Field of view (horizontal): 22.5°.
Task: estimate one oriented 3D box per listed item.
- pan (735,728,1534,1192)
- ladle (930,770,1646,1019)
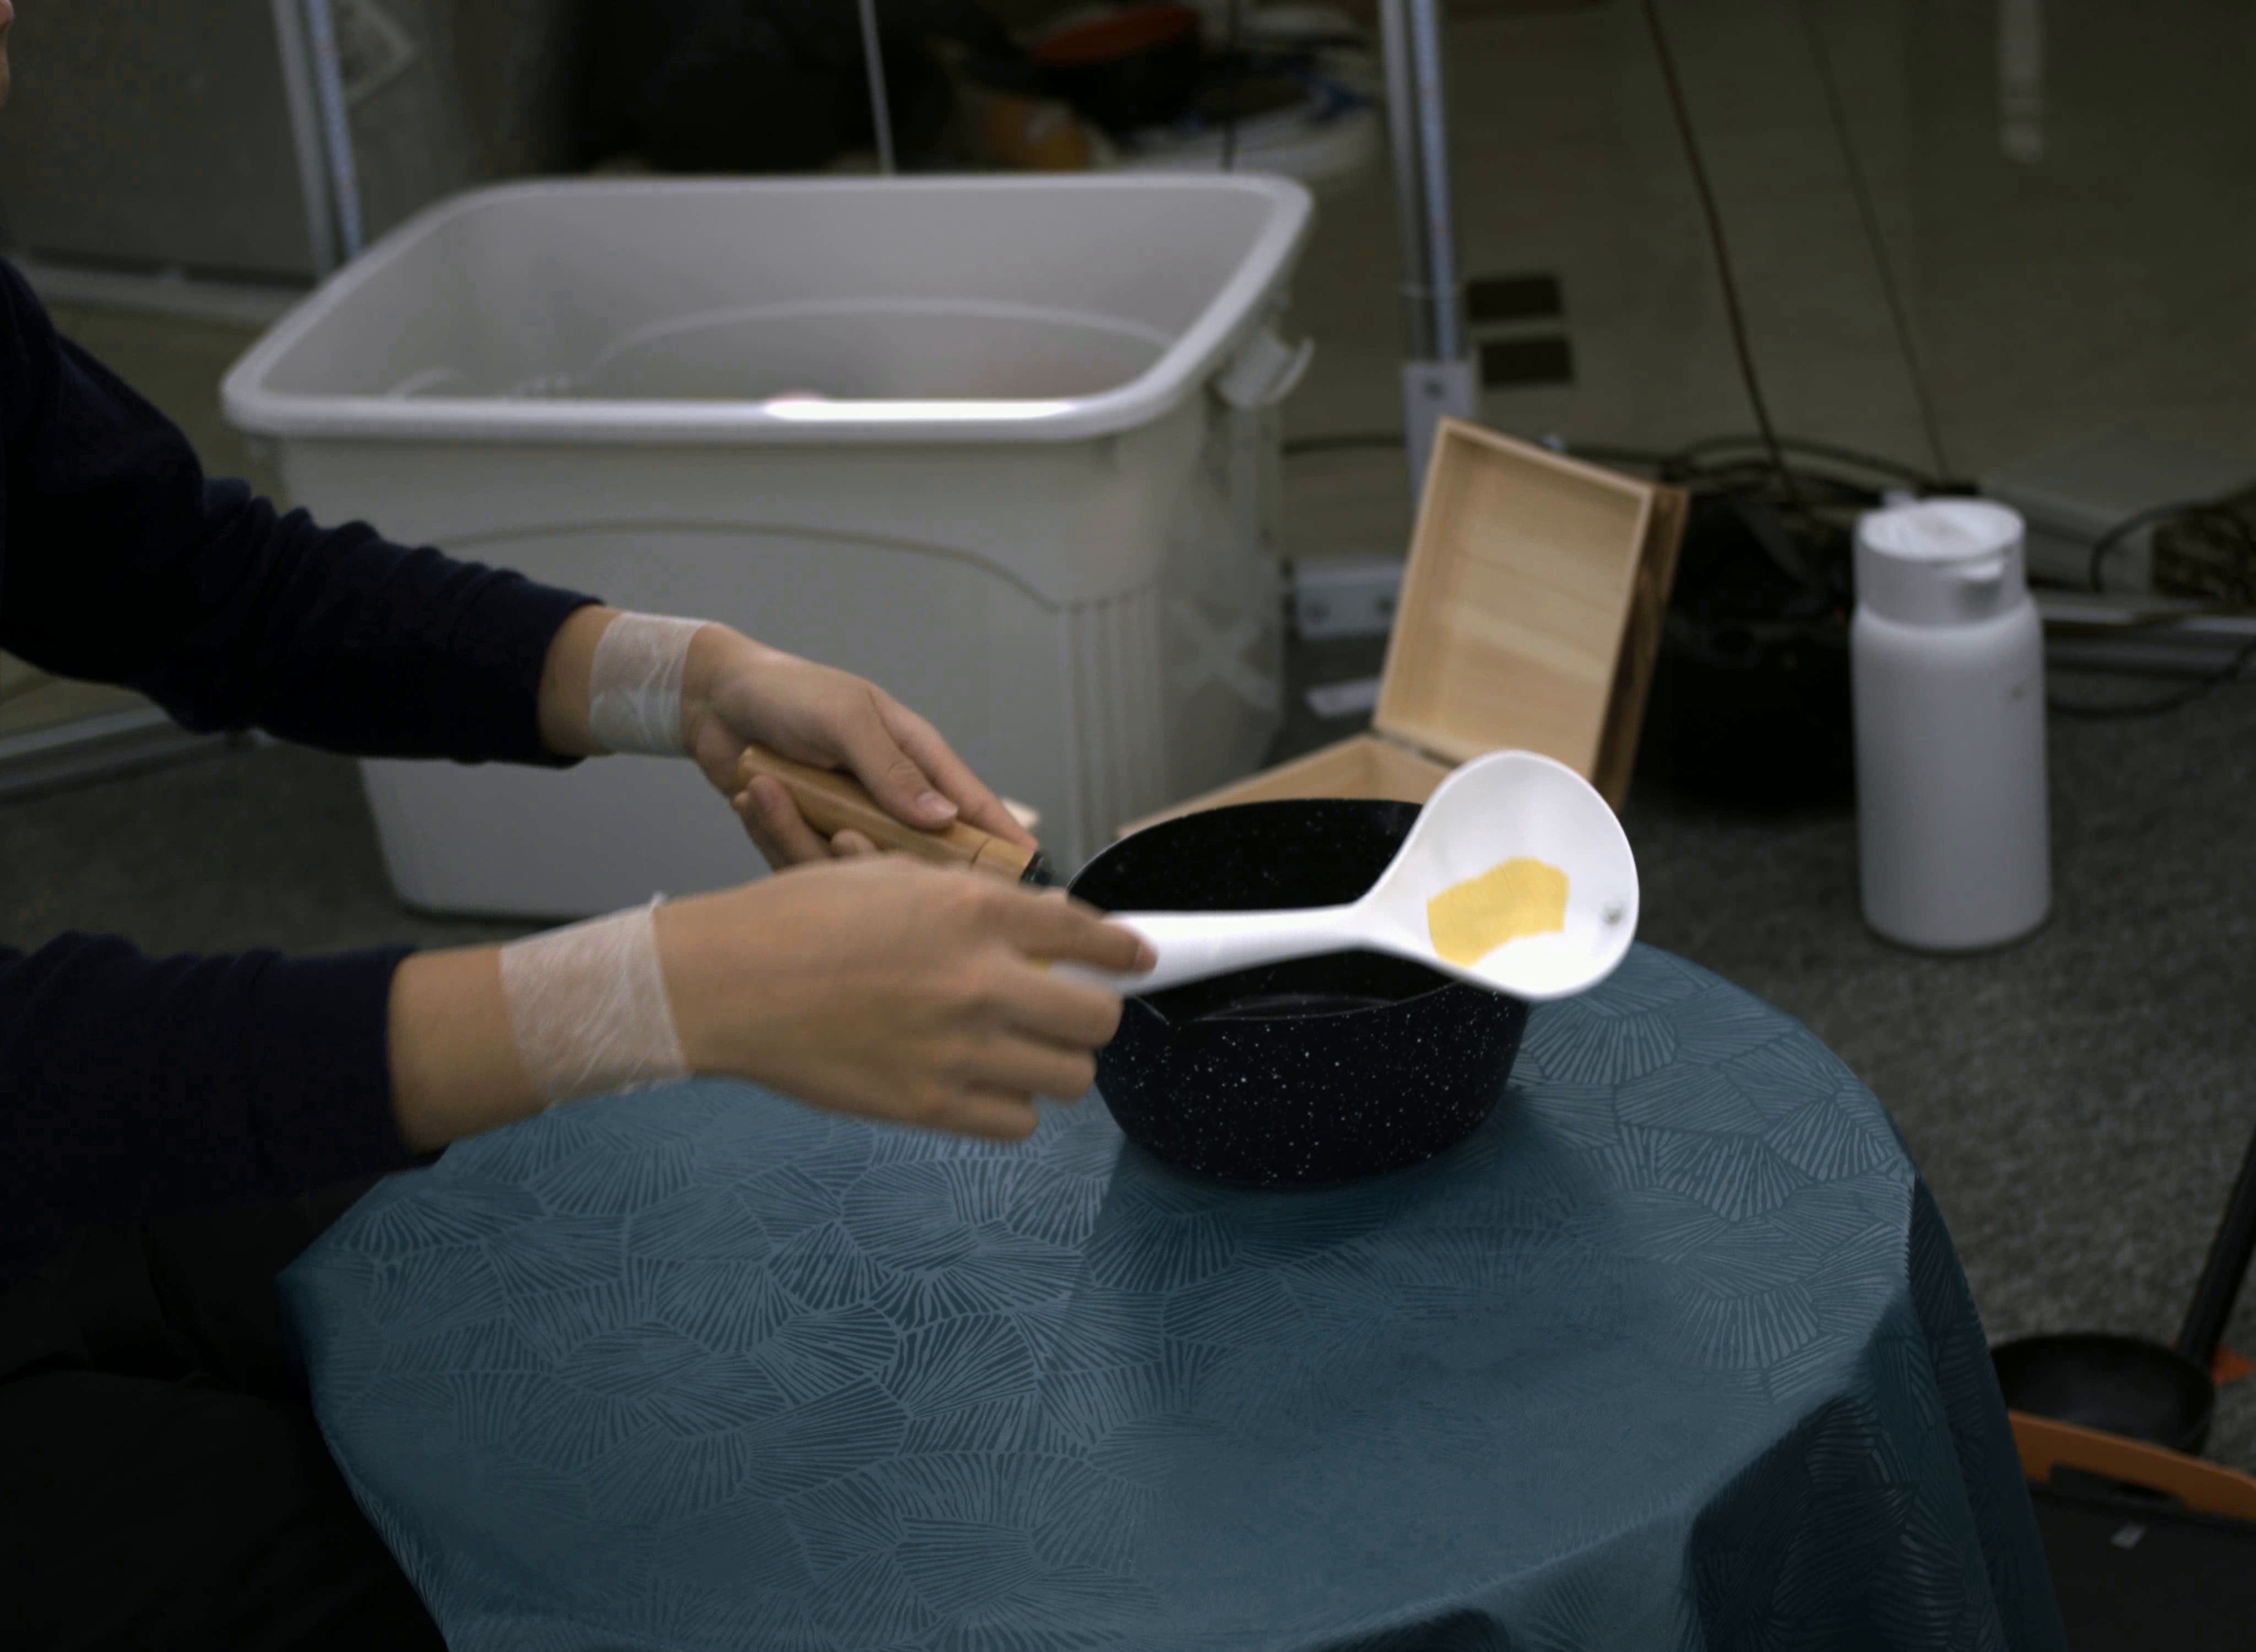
[{"bbox_3d":[-0.004,0.043,2.205,0.341,0.110,0.205,12,32,25],"label":"pan"},{"bbox_3d":[0.059,0.032,1.909,0.070,0.090,0.292,-23,-13,41],"label":"ladle"}]
